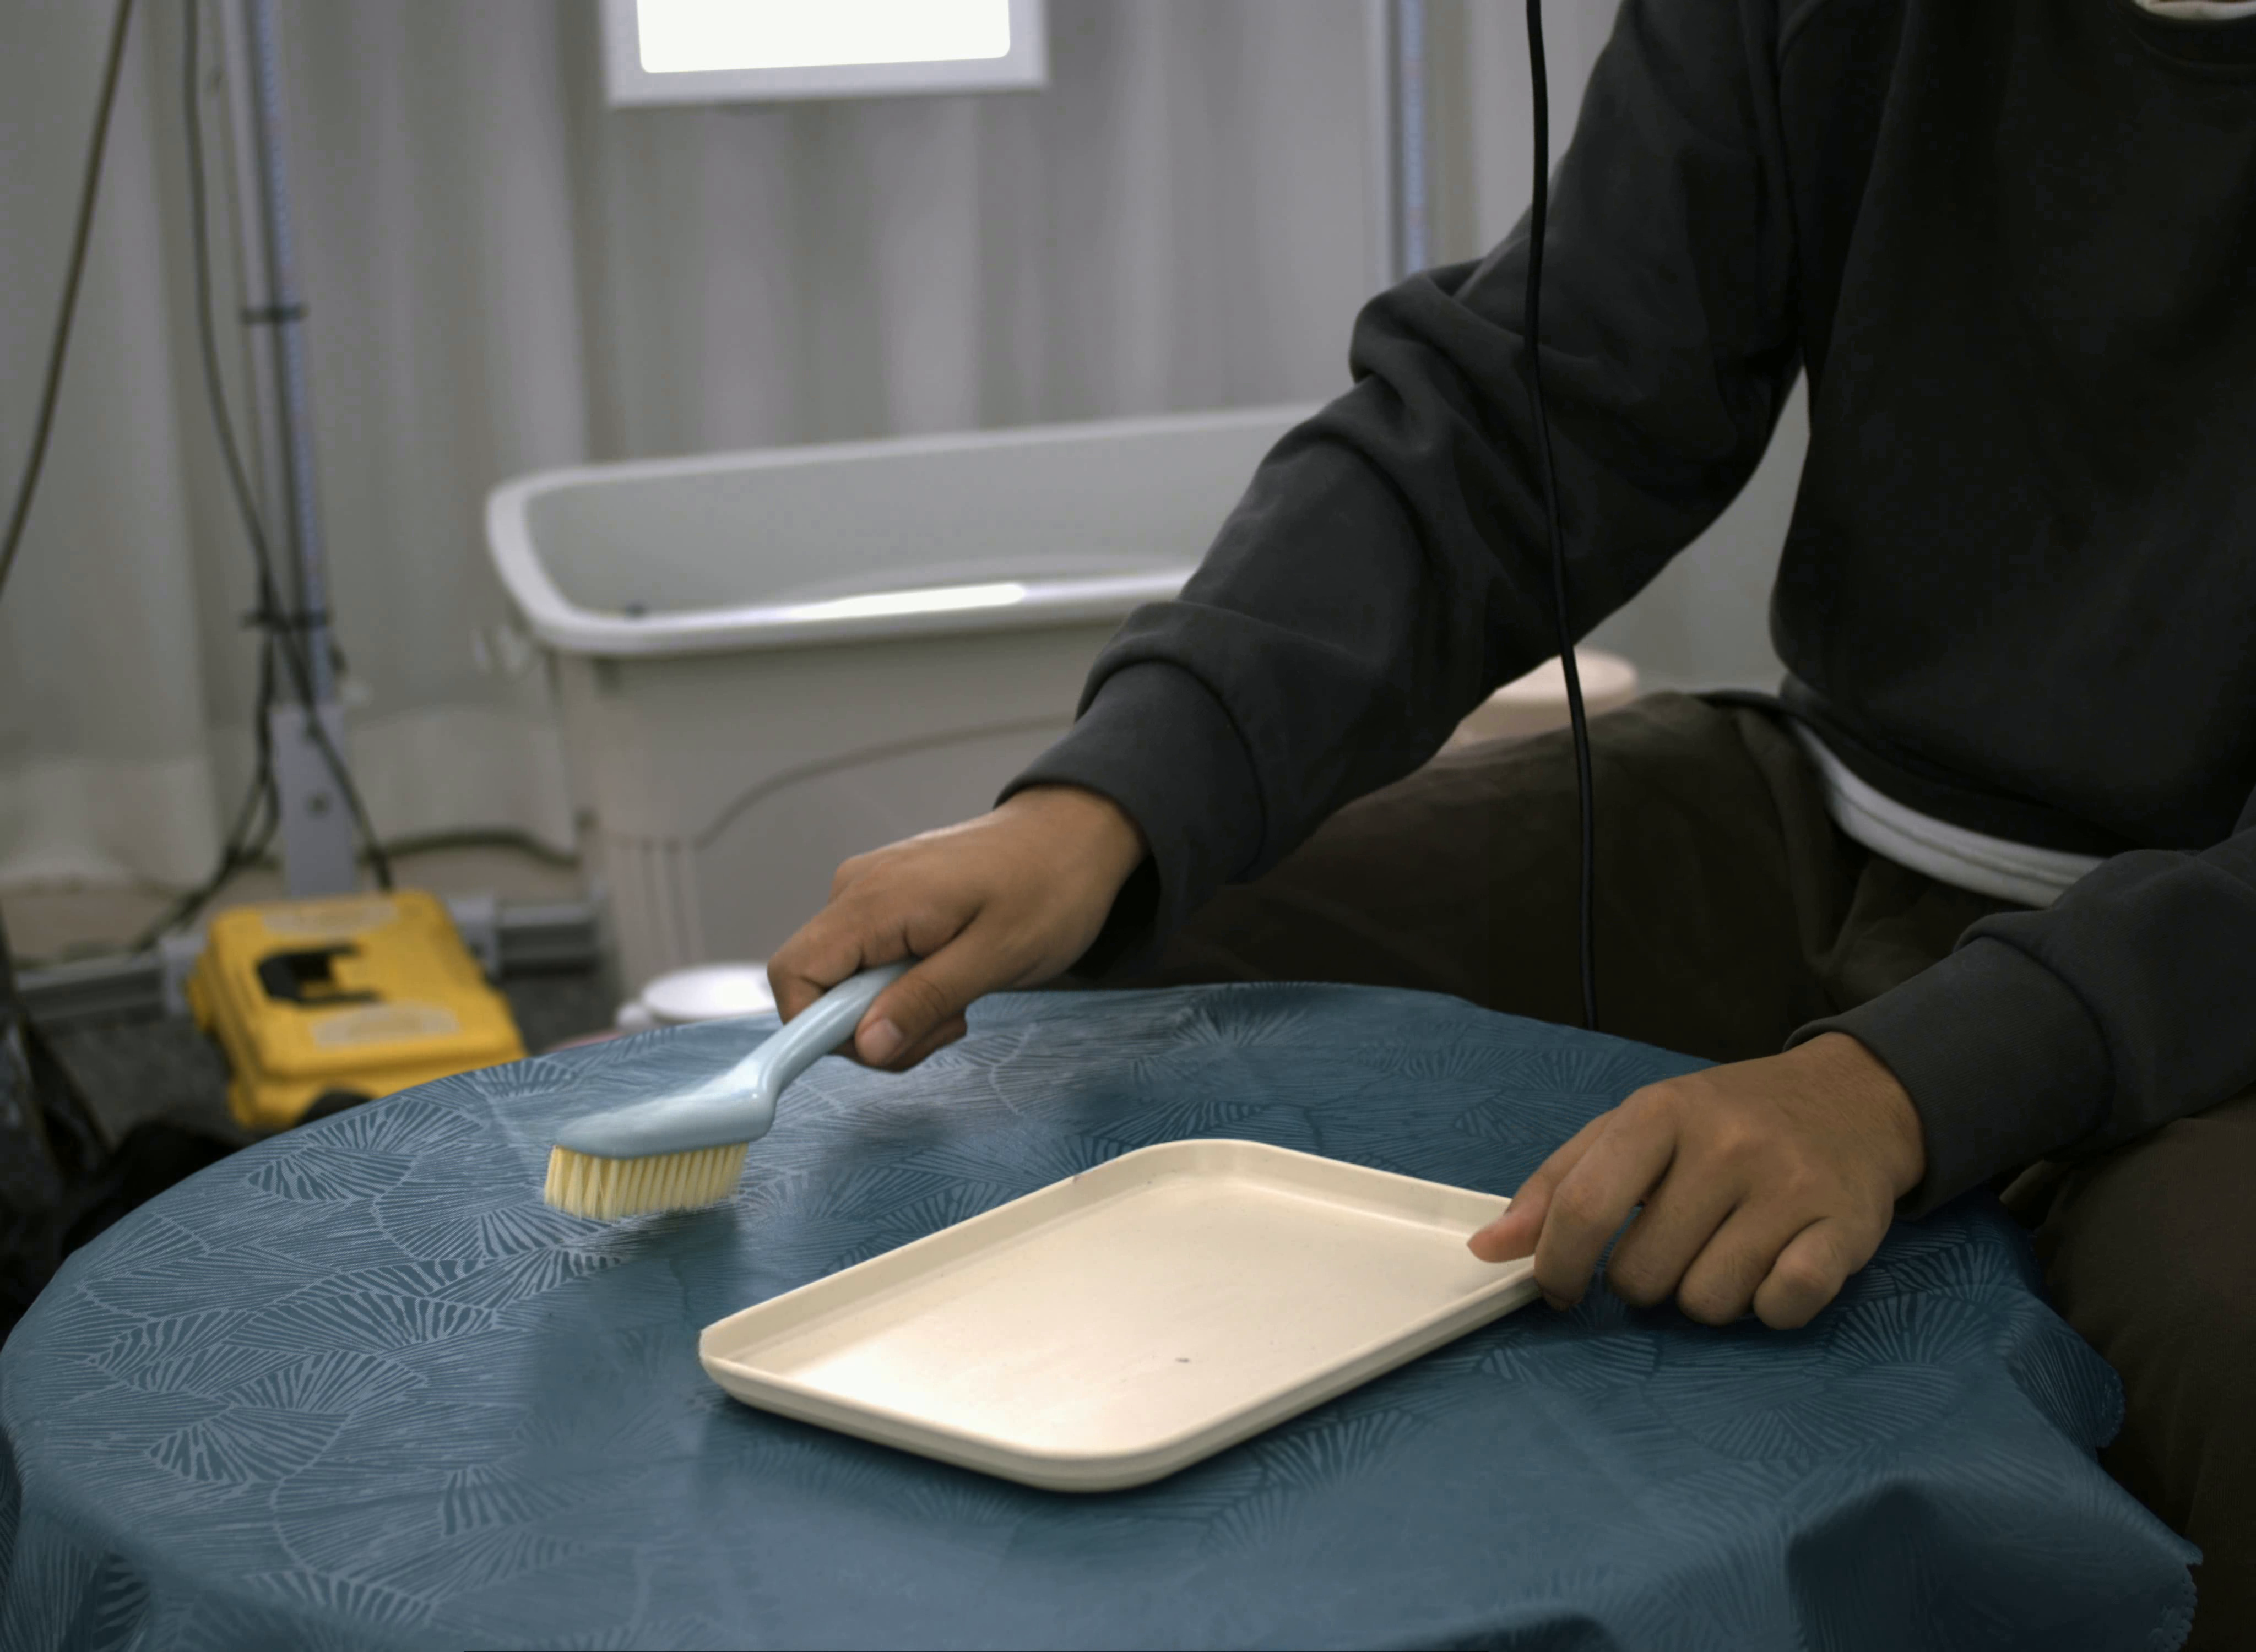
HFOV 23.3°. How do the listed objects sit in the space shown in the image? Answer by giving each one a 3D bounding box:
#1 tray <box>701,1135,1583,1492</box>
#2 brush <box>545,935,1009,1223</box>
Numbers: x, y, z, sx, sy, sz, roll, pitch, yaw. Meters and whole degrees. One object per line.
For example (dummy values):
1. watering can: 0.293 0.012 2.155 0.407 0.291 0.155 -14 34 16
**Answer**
1. tray: 0.007 0.140 1.586 0.172 0.017 0.239 11 20 40
2. brush: -0.109 0.081 1.755 0.038 0.049 0.229 14 23 29
